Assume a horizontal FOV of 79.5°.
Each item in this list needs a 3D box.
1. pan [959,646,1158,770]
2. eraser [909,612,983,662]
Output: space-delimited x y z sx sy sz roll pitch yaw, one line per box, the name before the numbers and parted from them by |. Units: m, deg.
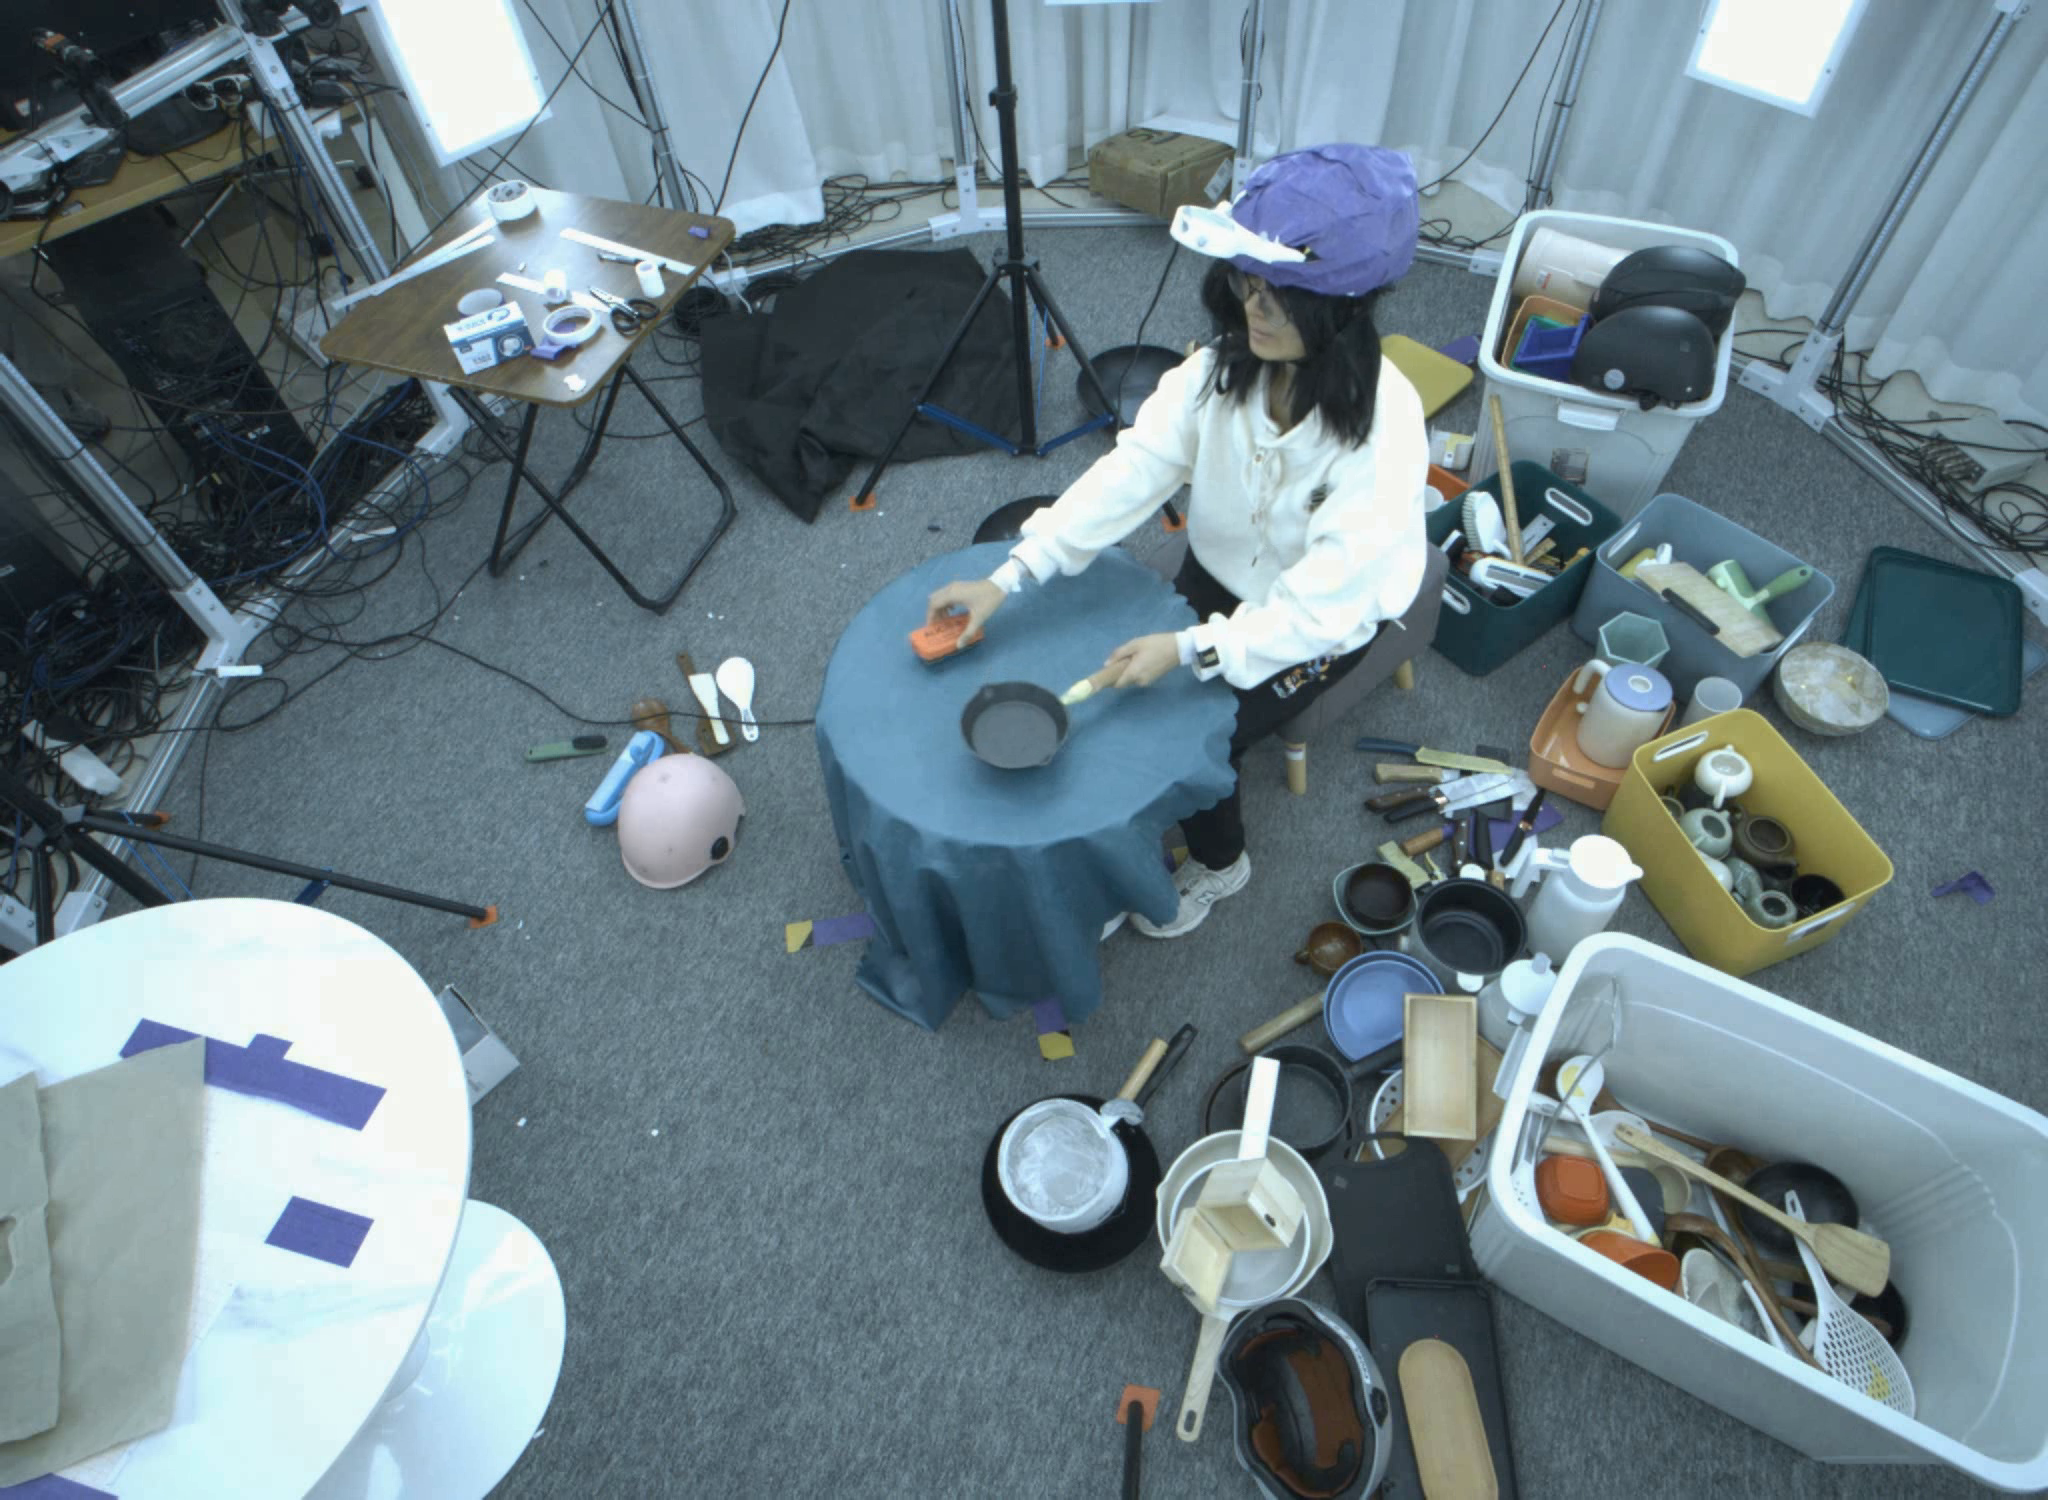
pan | 0.059 -0.071 1.774 0.327 0.050 0.166 -27 59 -18
eraser | -0.120 -0.174 1.886 0.109 0.023 0.058 -25 52 -27
